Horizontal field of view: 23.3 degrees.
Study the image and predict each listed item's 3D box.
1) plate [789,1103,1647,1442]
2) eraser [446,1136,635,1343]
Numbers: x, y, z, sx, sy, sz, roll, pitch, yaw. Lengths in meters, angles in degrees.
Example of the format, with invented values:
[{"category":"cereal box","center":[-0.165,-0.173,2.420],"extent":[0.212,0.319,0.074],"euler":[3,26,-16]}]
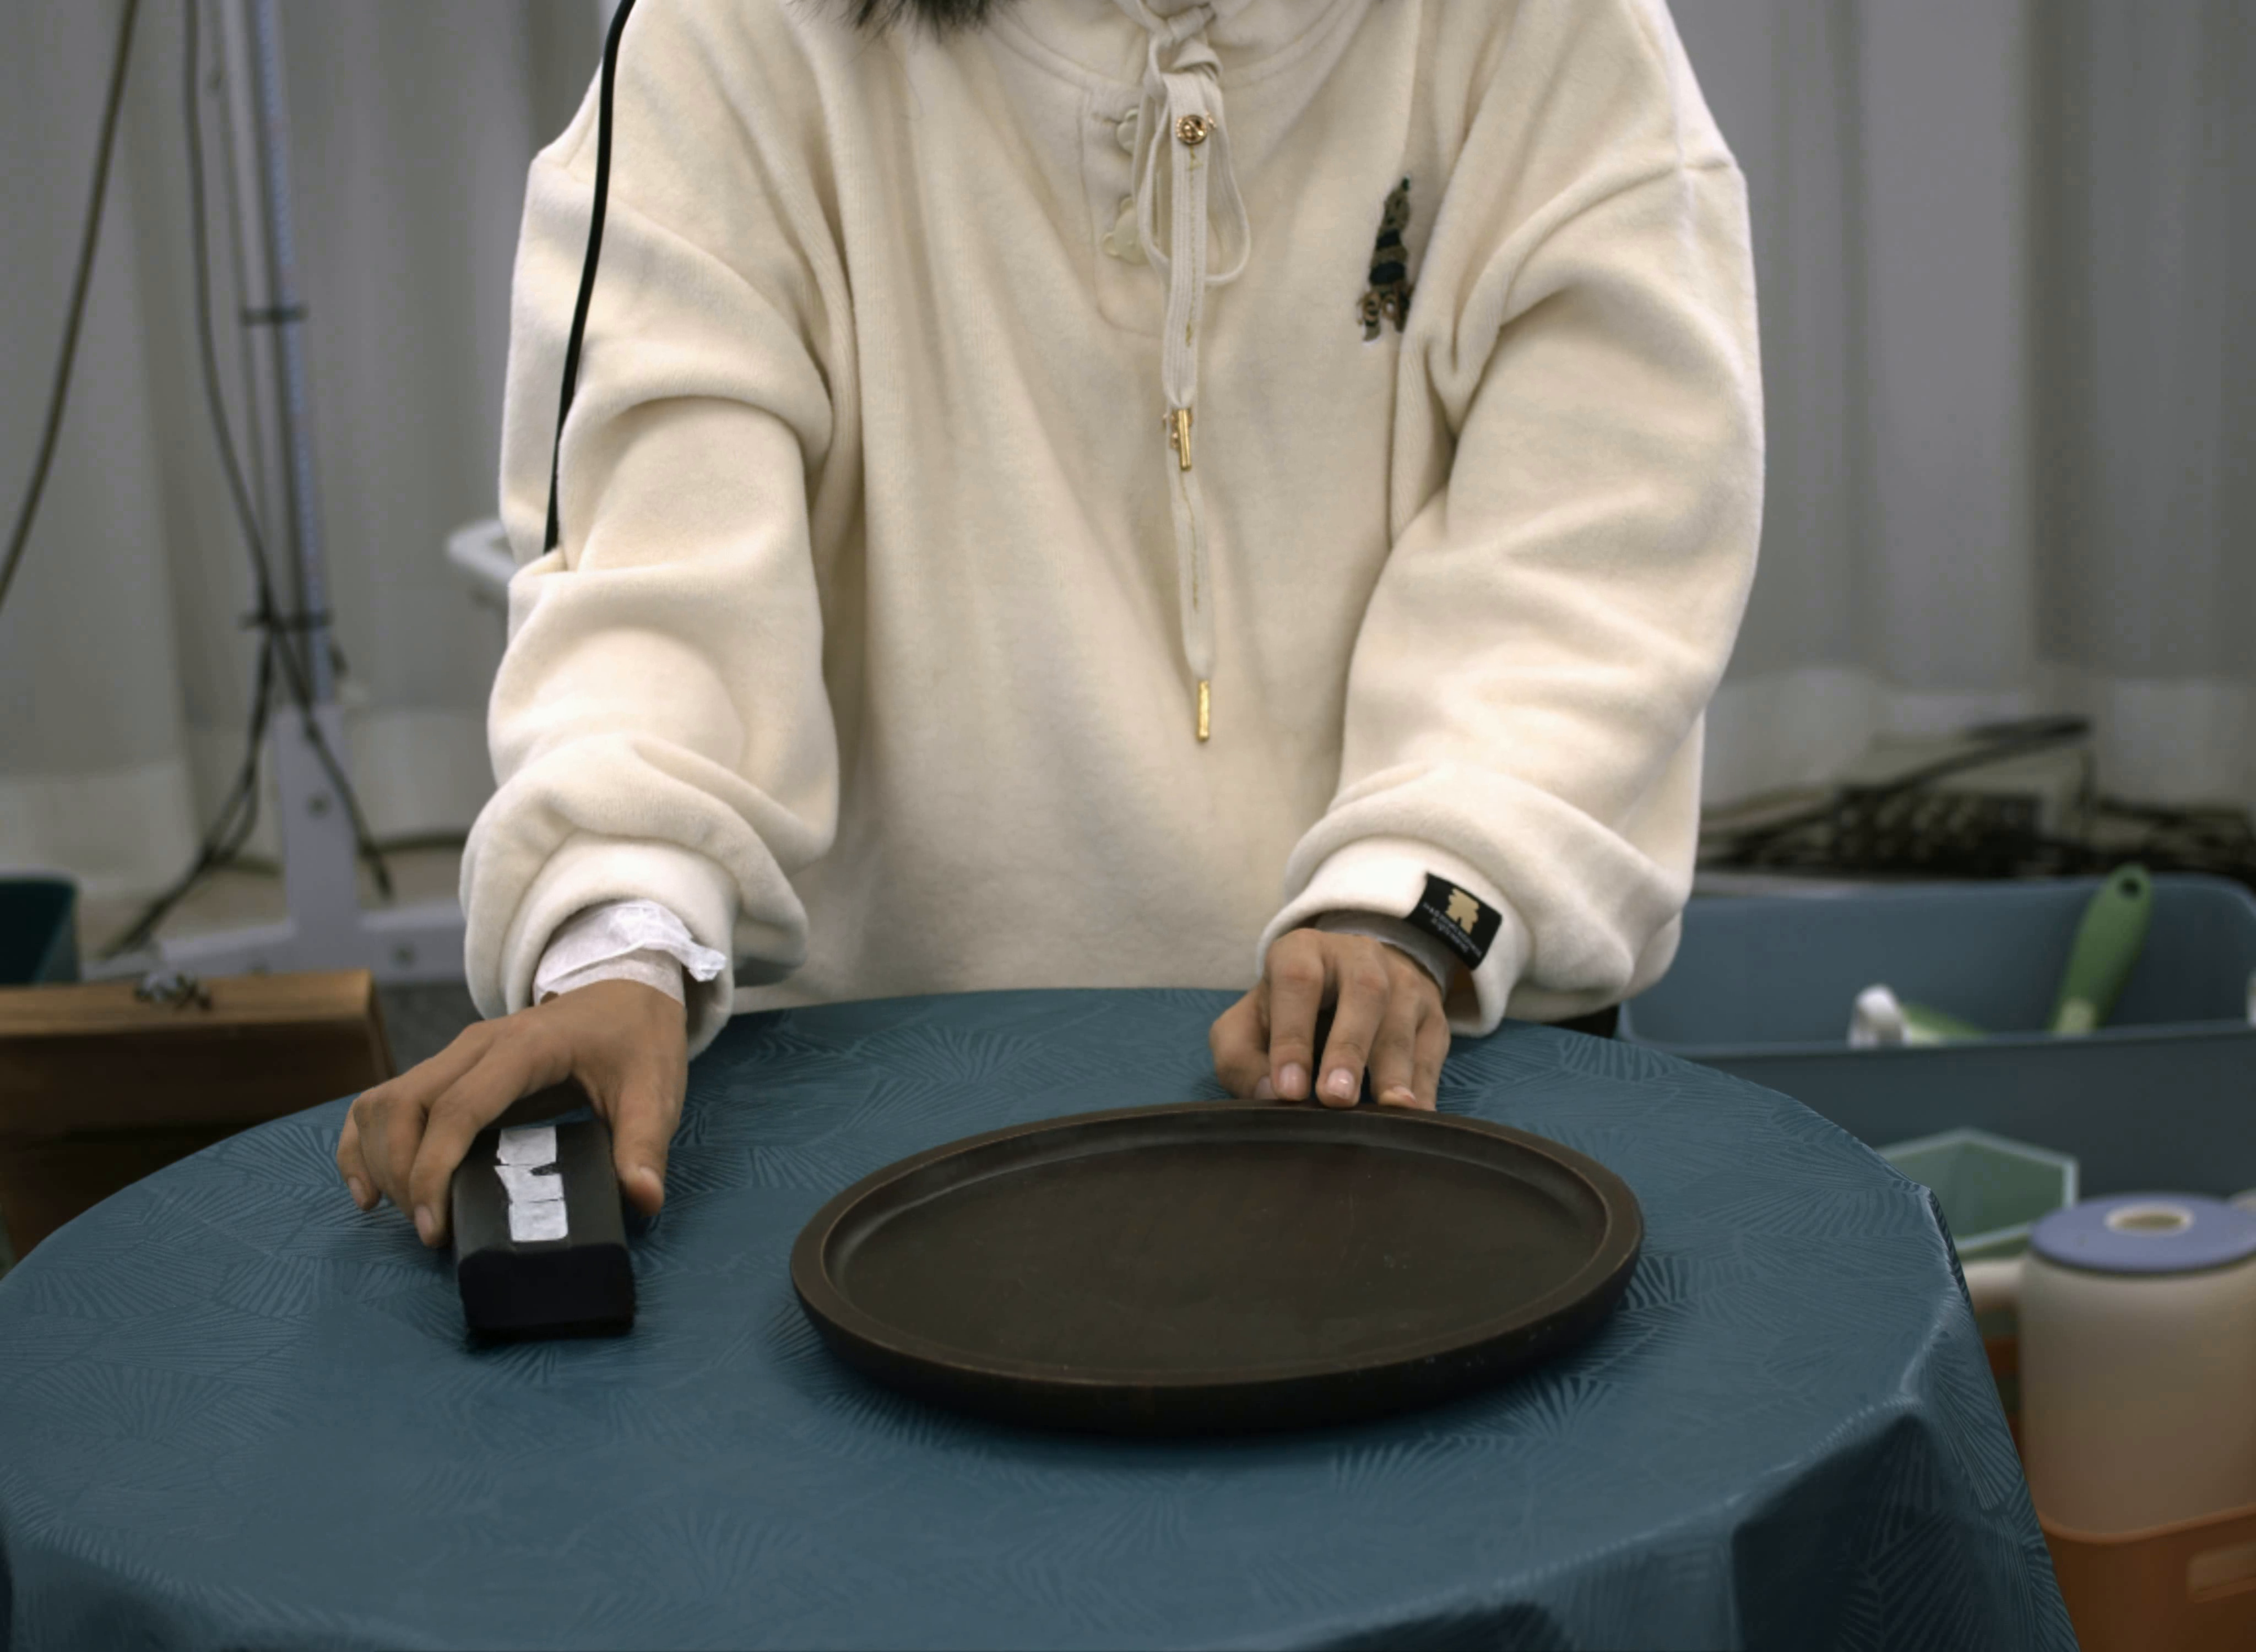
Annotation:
[{"category":"plate","center":[0.027,0.128,1.611],"extent":[0.254,0.029,0.256],"euler":[-3,16,1]},{"category":"eraser","center":[-0.179,0.125,1.661],"extent":[0.053,0.030,0.126],"euler":[-2,13,-8]}]
